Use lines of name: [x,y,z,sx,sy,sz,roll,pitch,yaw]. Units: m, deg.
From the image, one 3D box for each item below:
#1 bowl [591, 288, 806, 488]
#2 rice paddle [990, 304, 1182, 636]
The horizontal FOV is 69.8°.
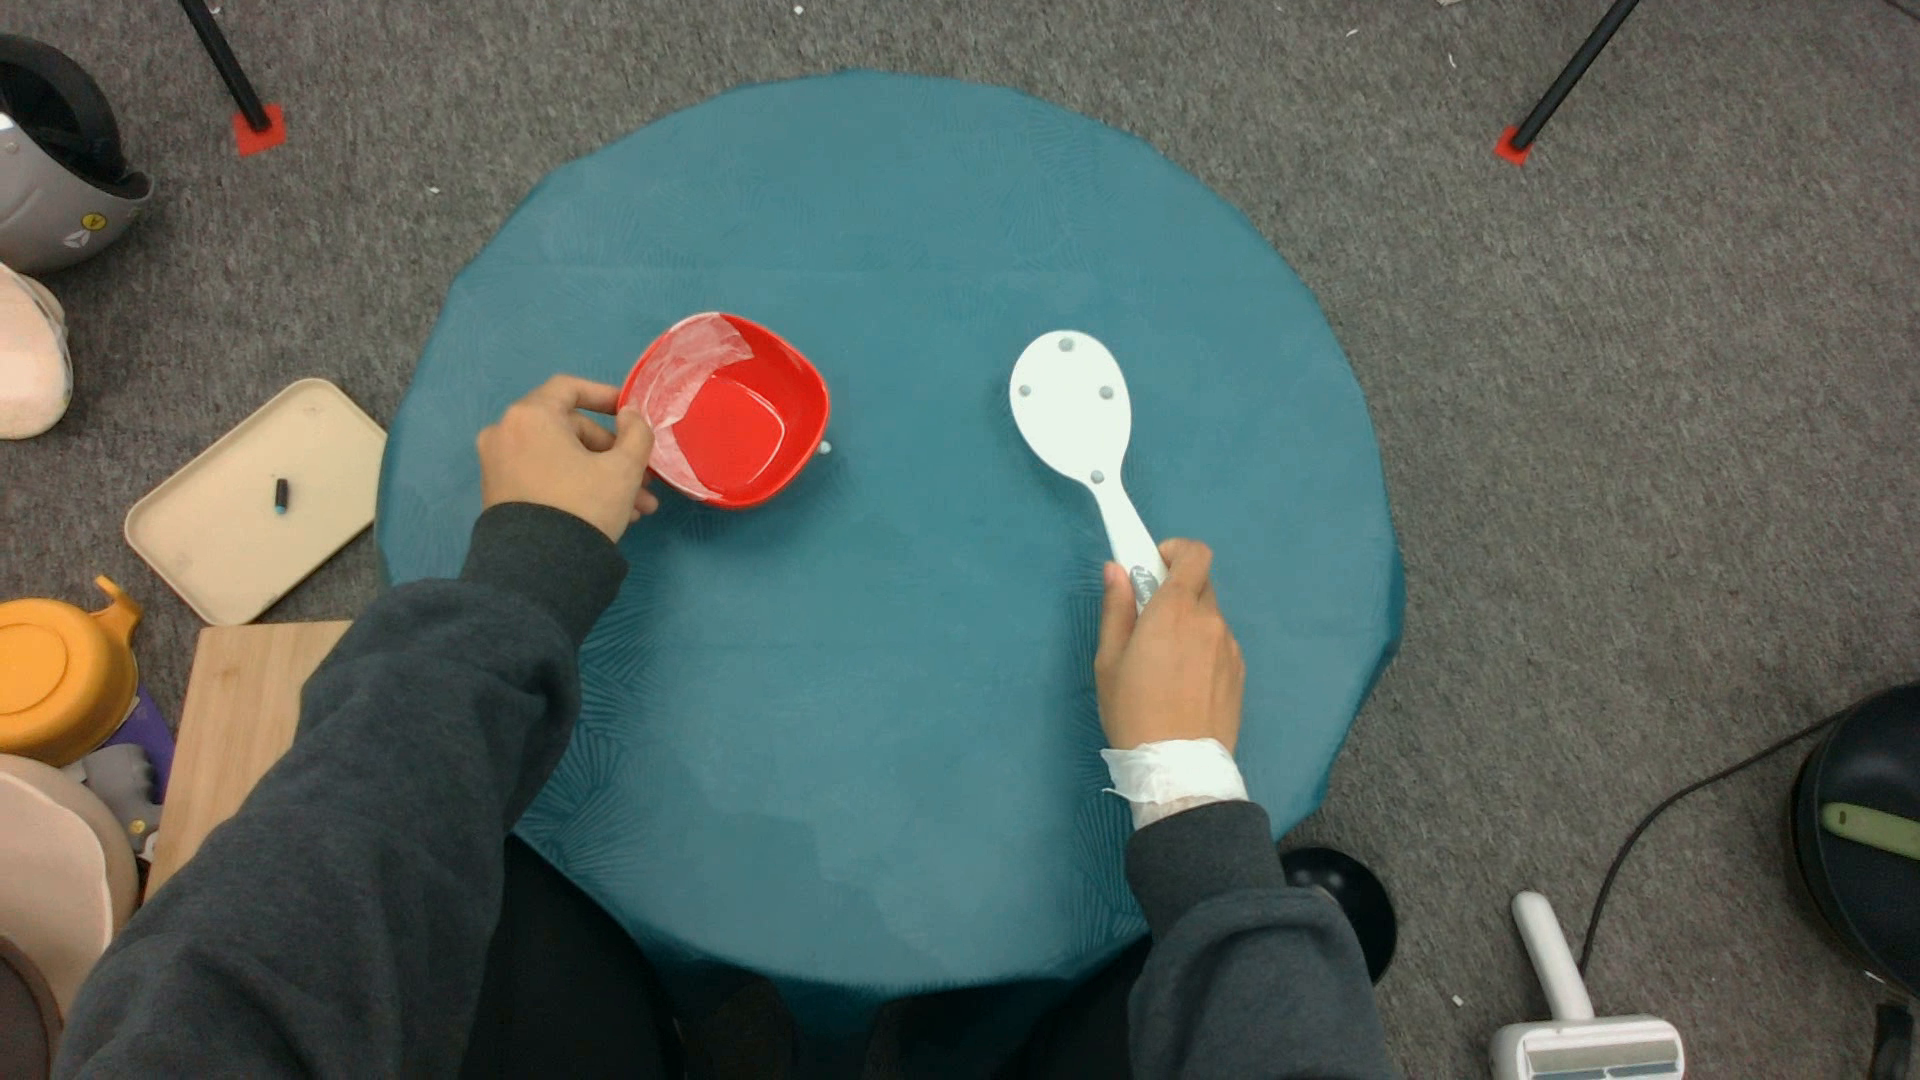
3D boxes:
bowl: [-0.150,-0.080,0.789,0.119,0.051,0.119,4,72,-14]
rice paddle: [0.073,-0.045,0.787,0.068,0.029,0.205,-23,76,10]
